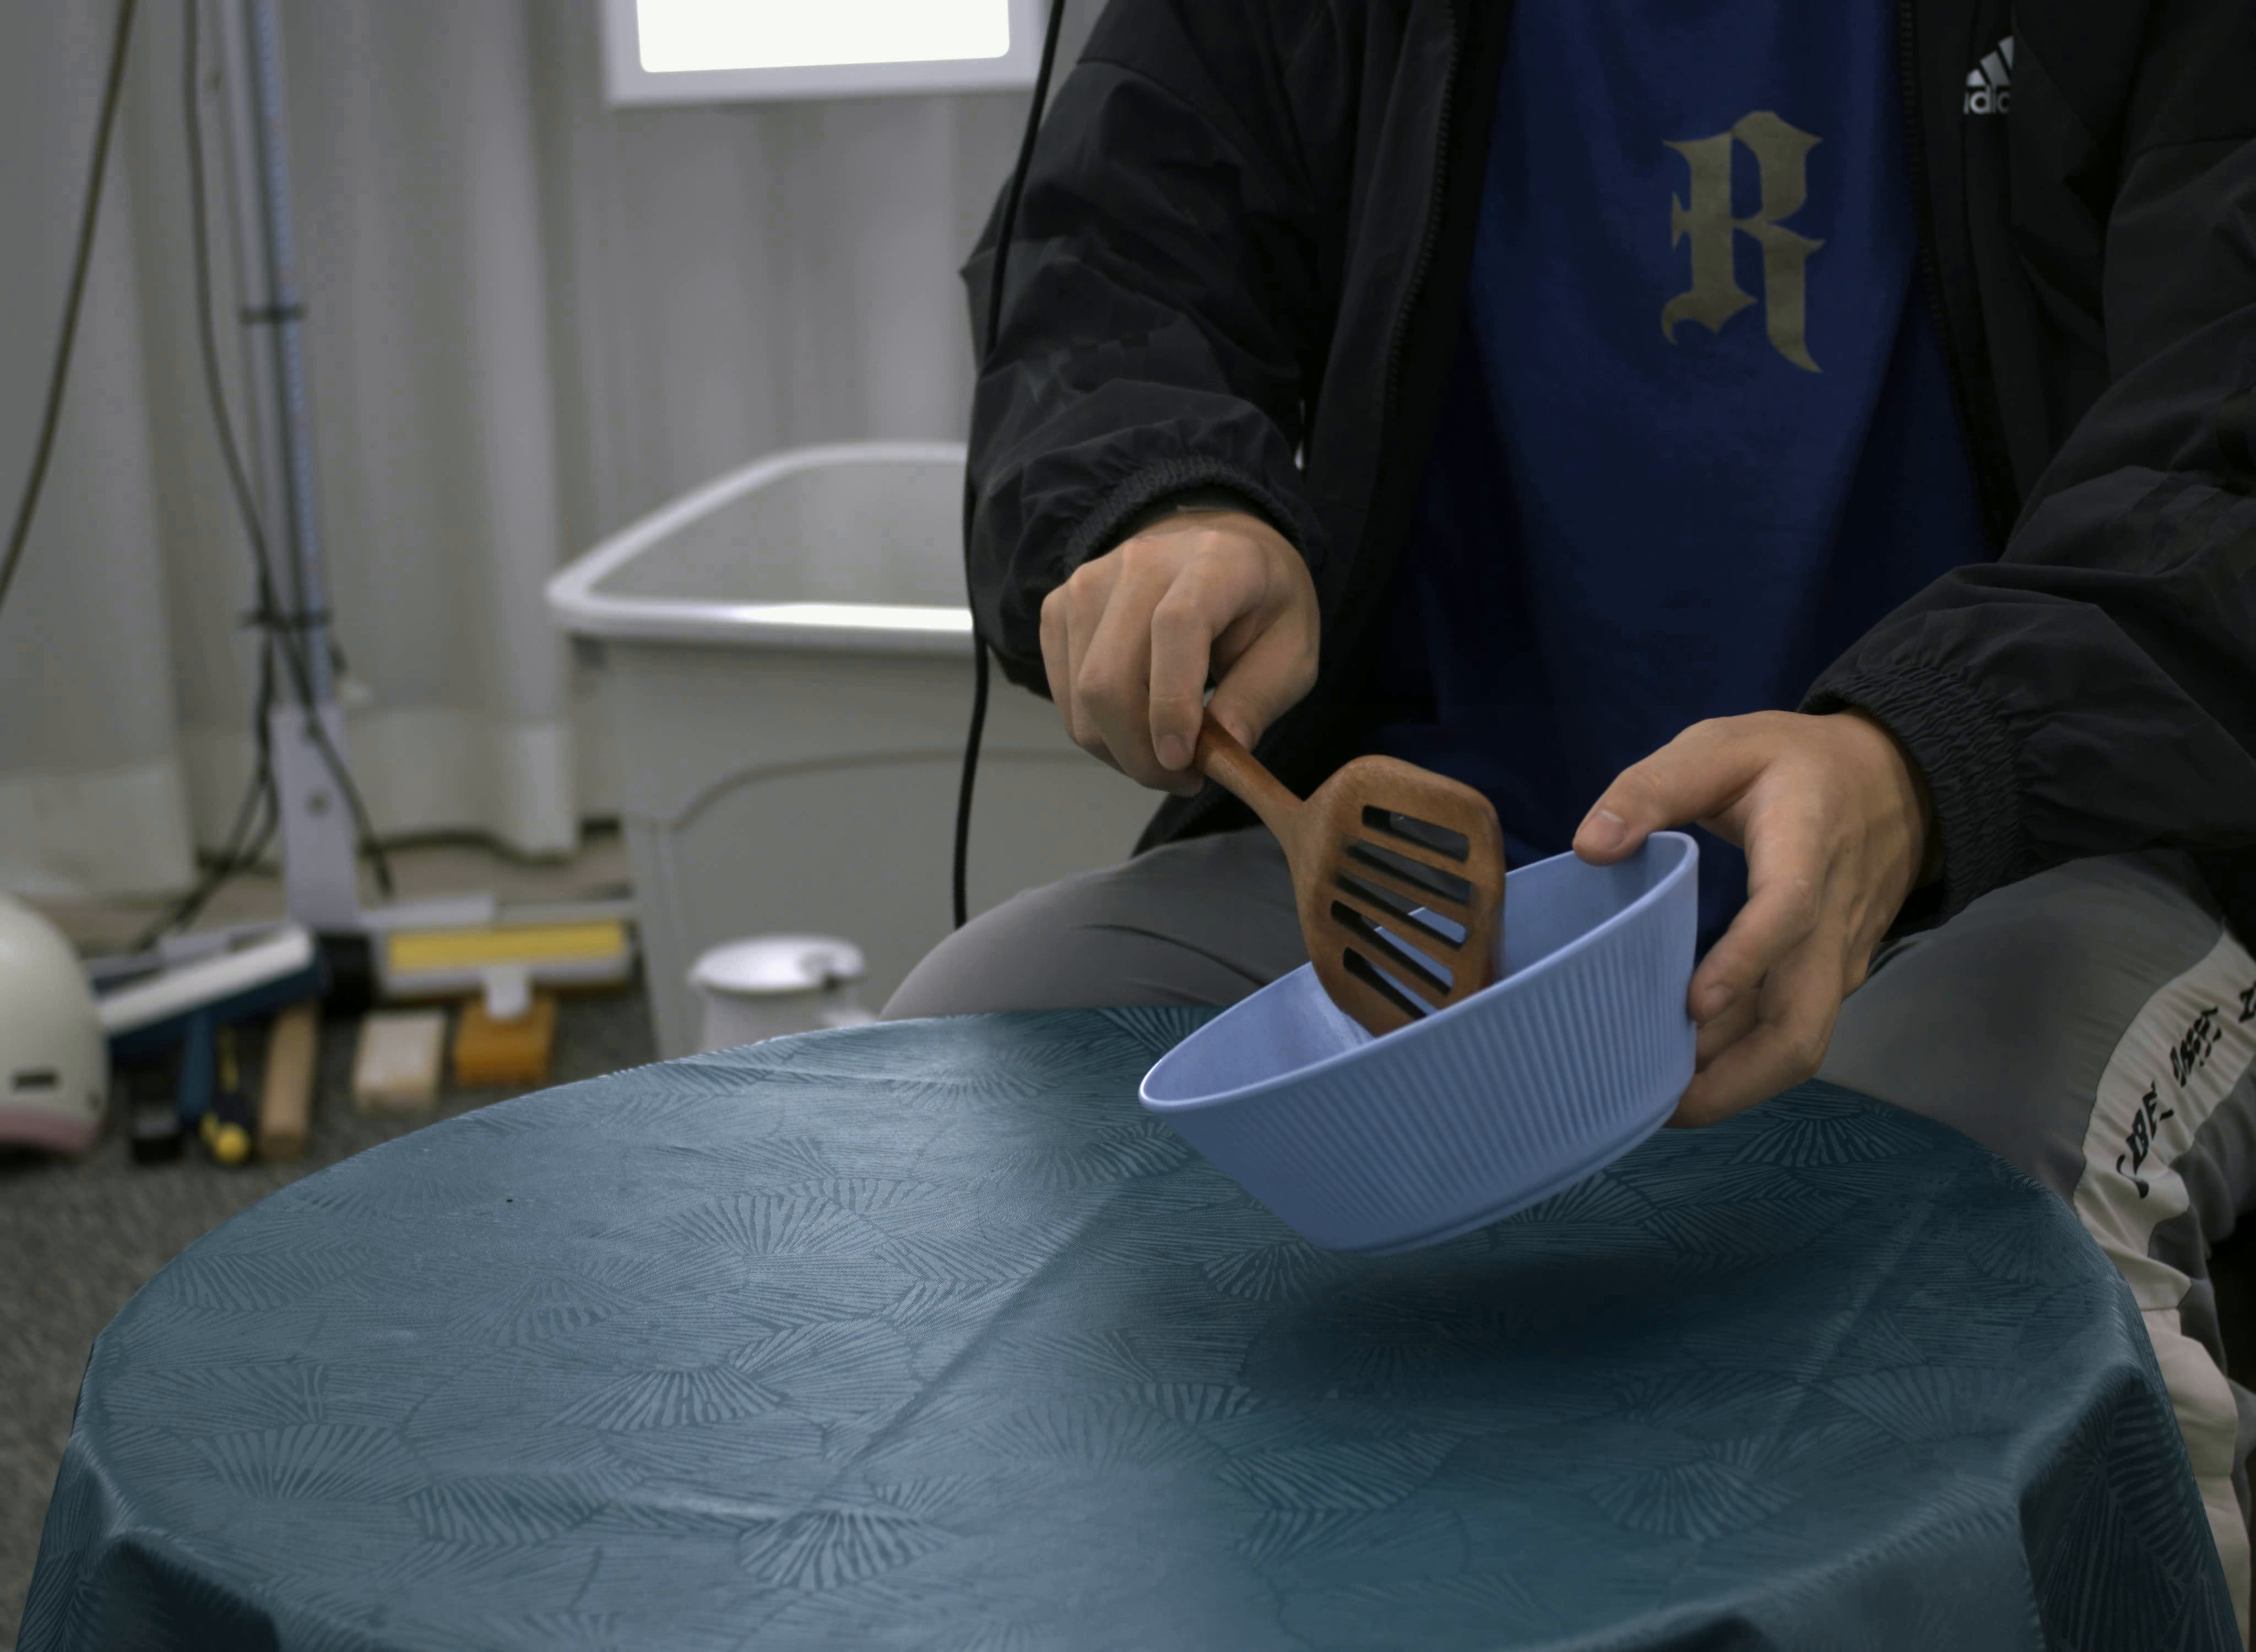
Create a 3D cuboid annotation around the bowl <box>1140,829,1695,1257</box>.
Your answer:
[{"bbox_3d":[0.095,0.069,1.568,0.175,0.070,0.176,-25,6,2],"label":"bowl"}]

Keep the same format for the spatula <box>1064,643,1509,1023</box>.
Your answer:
[{"bbox_3d":[0.038,-0.012,1.703,0.024,0.085,0.389,4,11,-18],"label":"spatula"}]
